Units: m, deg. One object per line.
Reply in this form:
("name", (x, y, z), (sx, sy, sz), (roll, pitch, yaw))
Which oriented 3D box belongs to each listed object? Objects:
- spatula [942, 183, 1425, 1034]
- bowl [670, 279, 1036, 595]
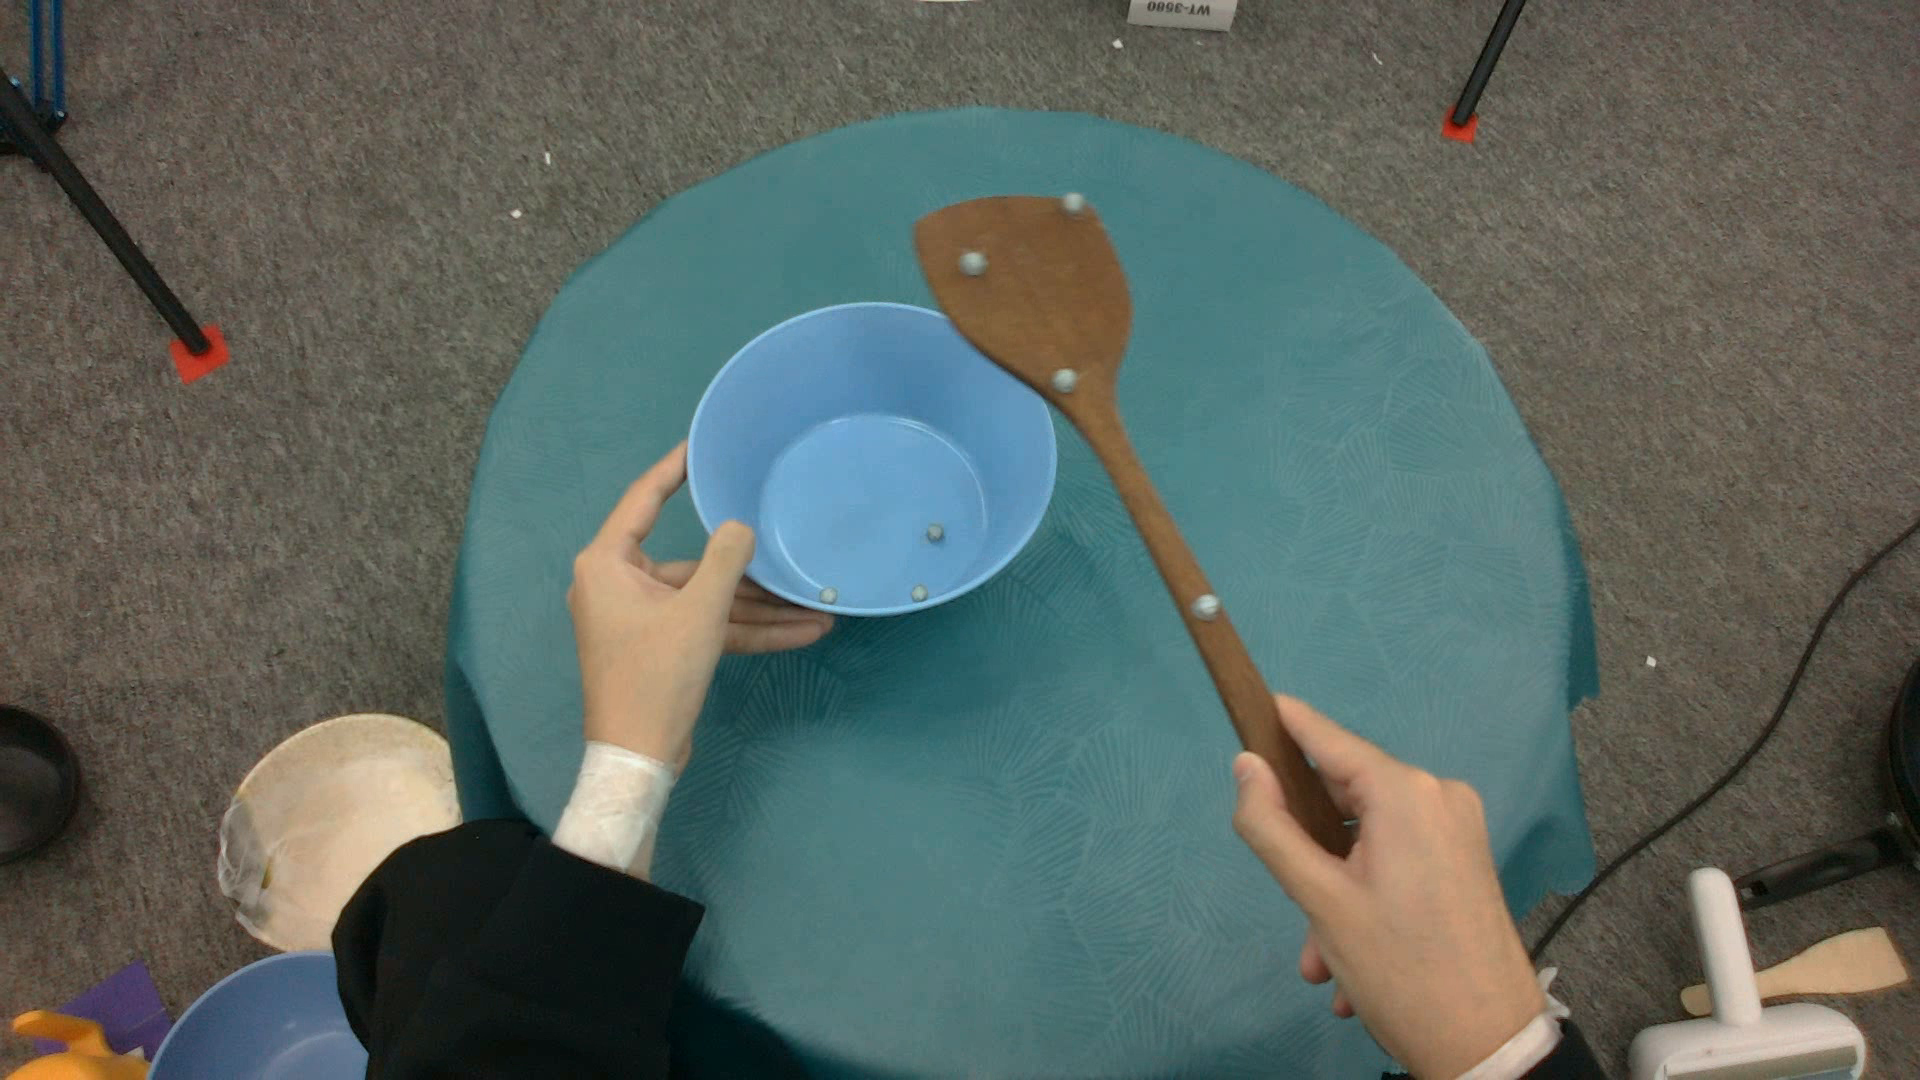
("spatula", (0.091, 0.003, 0.551), (0.096, 0.015, 0.387), (-9, 63, -25))
("bowl", (-0.052, -0.040, 0.687), (0.176, 0.070, 0.177), (2, 63, -3))
